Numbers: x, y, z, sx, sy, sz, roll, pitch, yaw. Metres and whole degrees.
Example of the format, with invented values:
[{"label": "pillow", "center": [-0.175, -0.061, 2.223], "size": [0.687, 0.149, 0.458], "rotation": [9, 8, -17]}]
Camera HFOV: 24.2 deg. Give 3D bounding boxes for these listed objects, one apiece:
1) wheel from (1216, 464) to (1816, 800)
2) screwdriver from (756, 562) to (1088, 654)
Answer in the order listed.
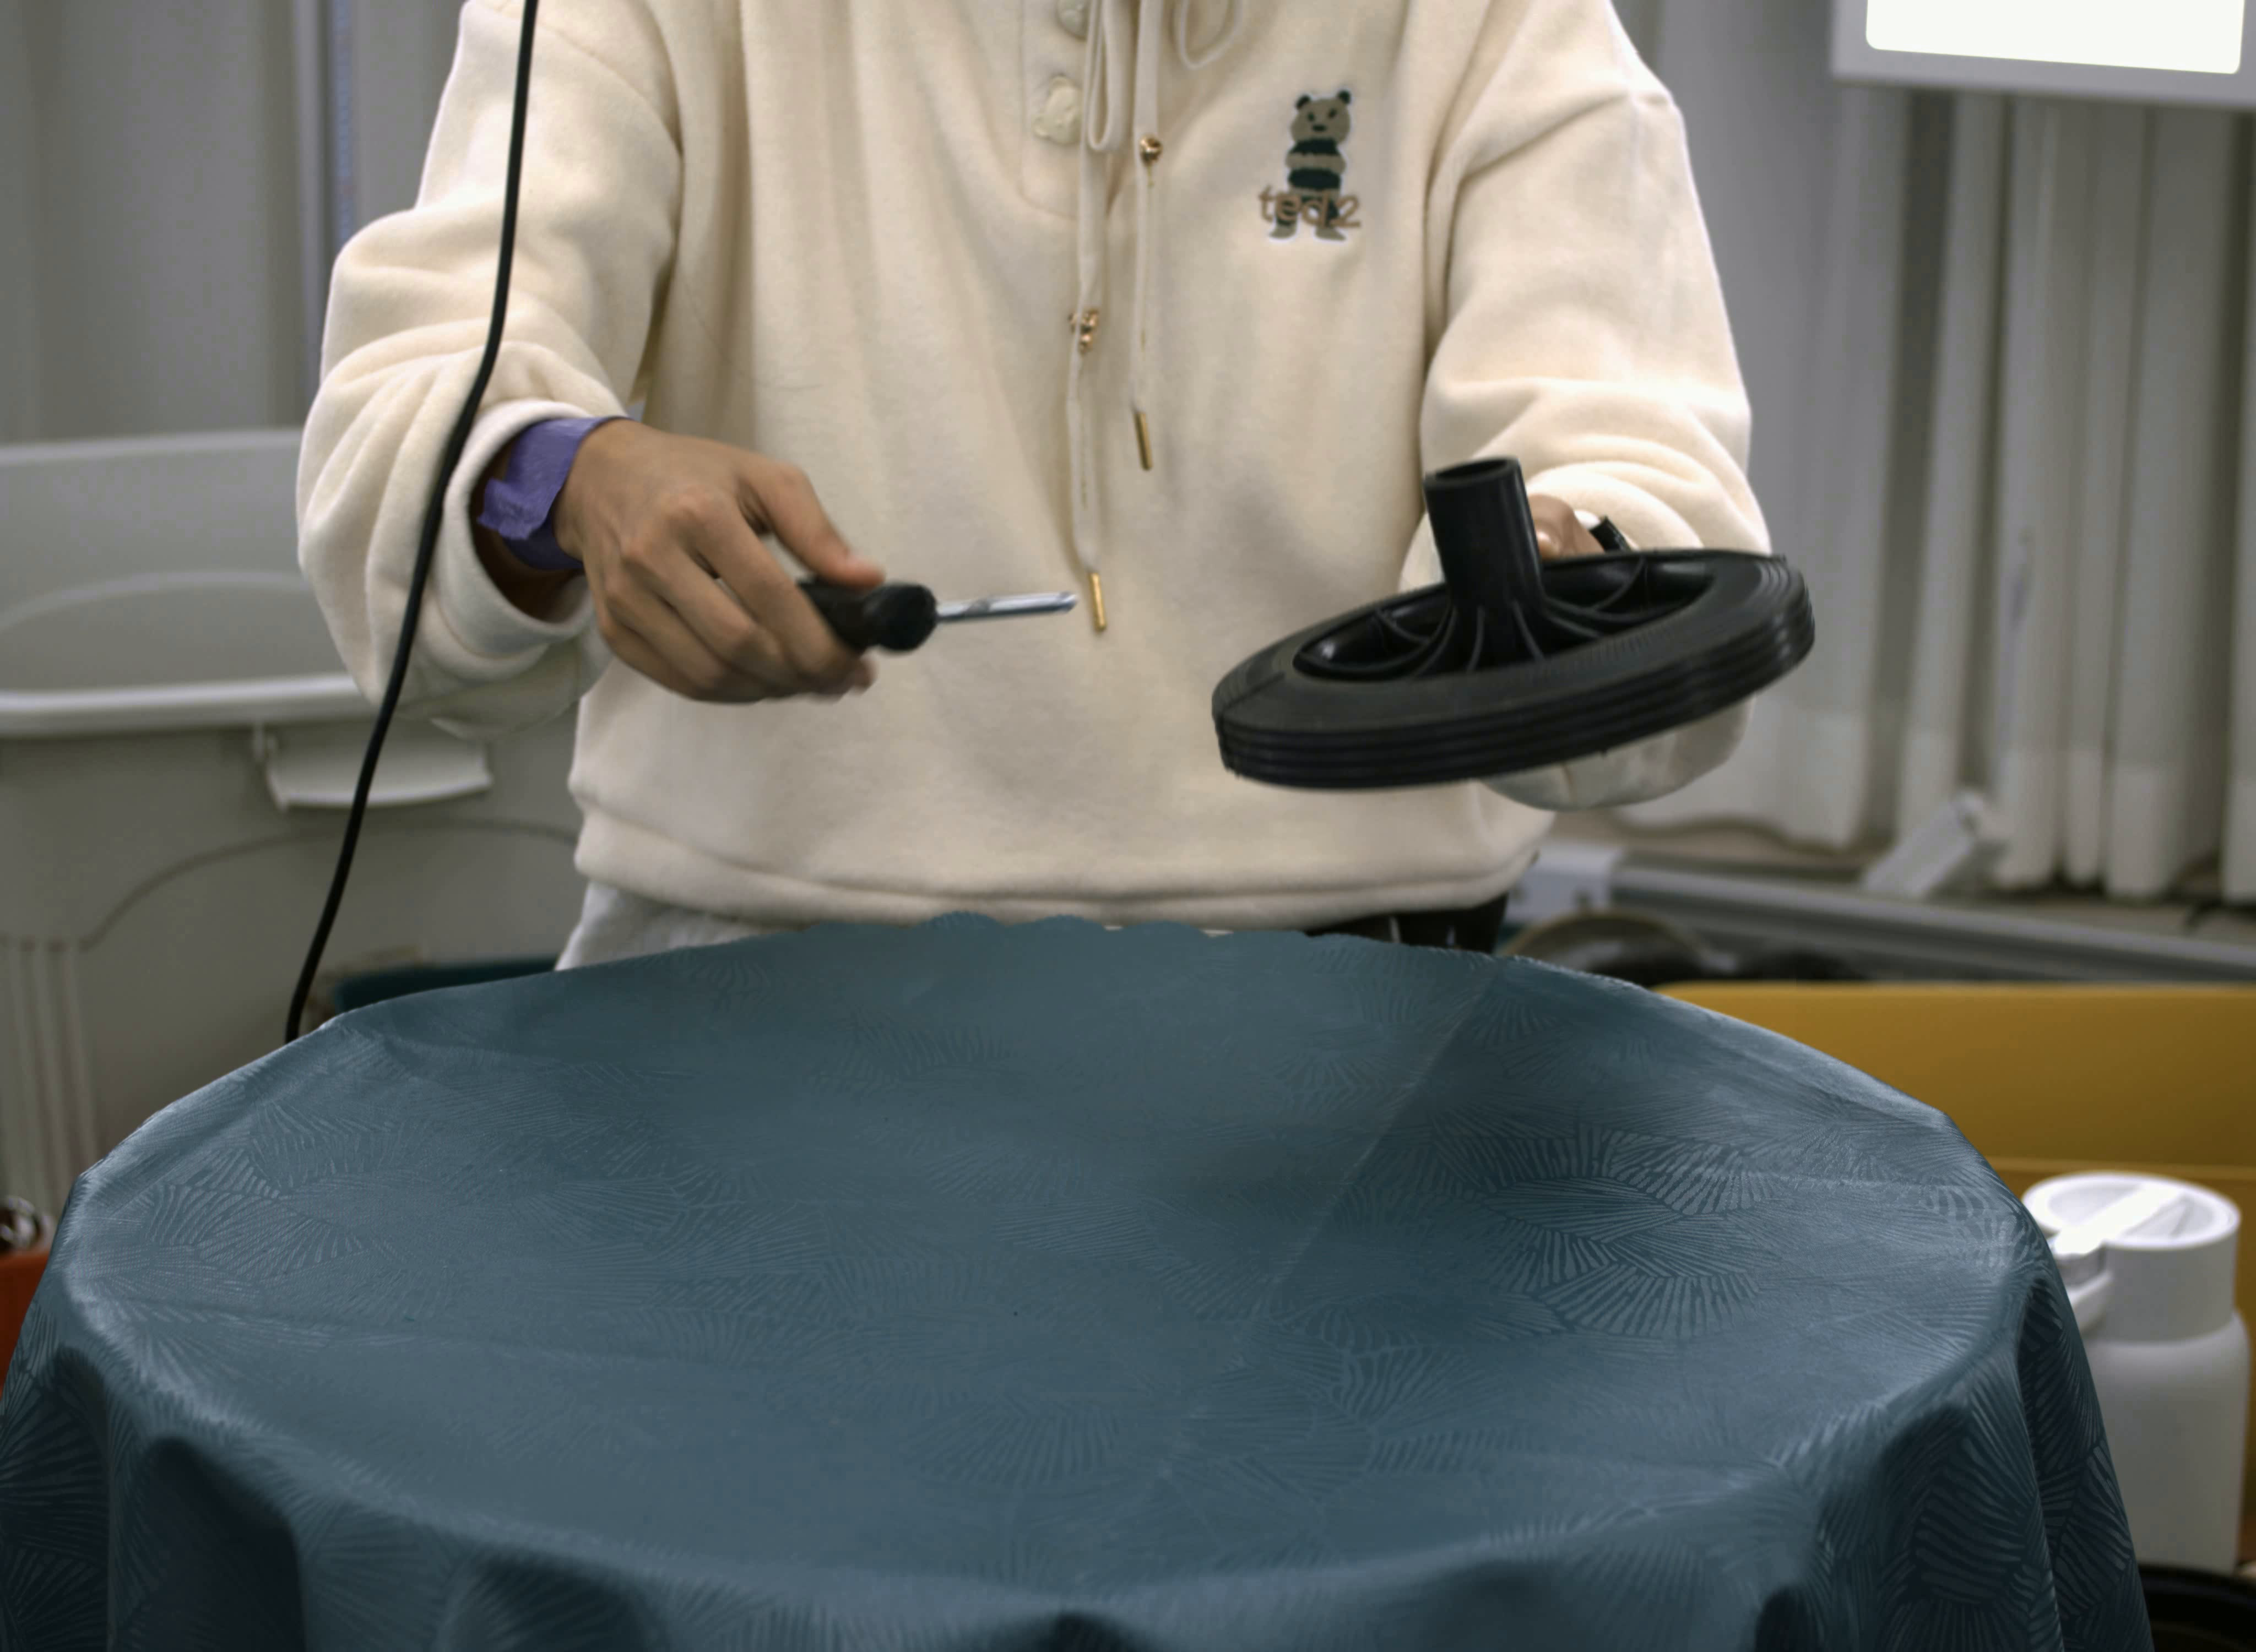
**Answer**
[{"label": "wheel", "center": [0.114, -0.069, 1.617], "size": [0.186, 0.080, 0.190], "rotation": [-7, 17, 24]}, {"label": "screwdriver", "center": [-0.066, -0.075, 1.672], "size": [0.031, 0.031, 0.194], "rotation": [-9, 2, -32]}]
